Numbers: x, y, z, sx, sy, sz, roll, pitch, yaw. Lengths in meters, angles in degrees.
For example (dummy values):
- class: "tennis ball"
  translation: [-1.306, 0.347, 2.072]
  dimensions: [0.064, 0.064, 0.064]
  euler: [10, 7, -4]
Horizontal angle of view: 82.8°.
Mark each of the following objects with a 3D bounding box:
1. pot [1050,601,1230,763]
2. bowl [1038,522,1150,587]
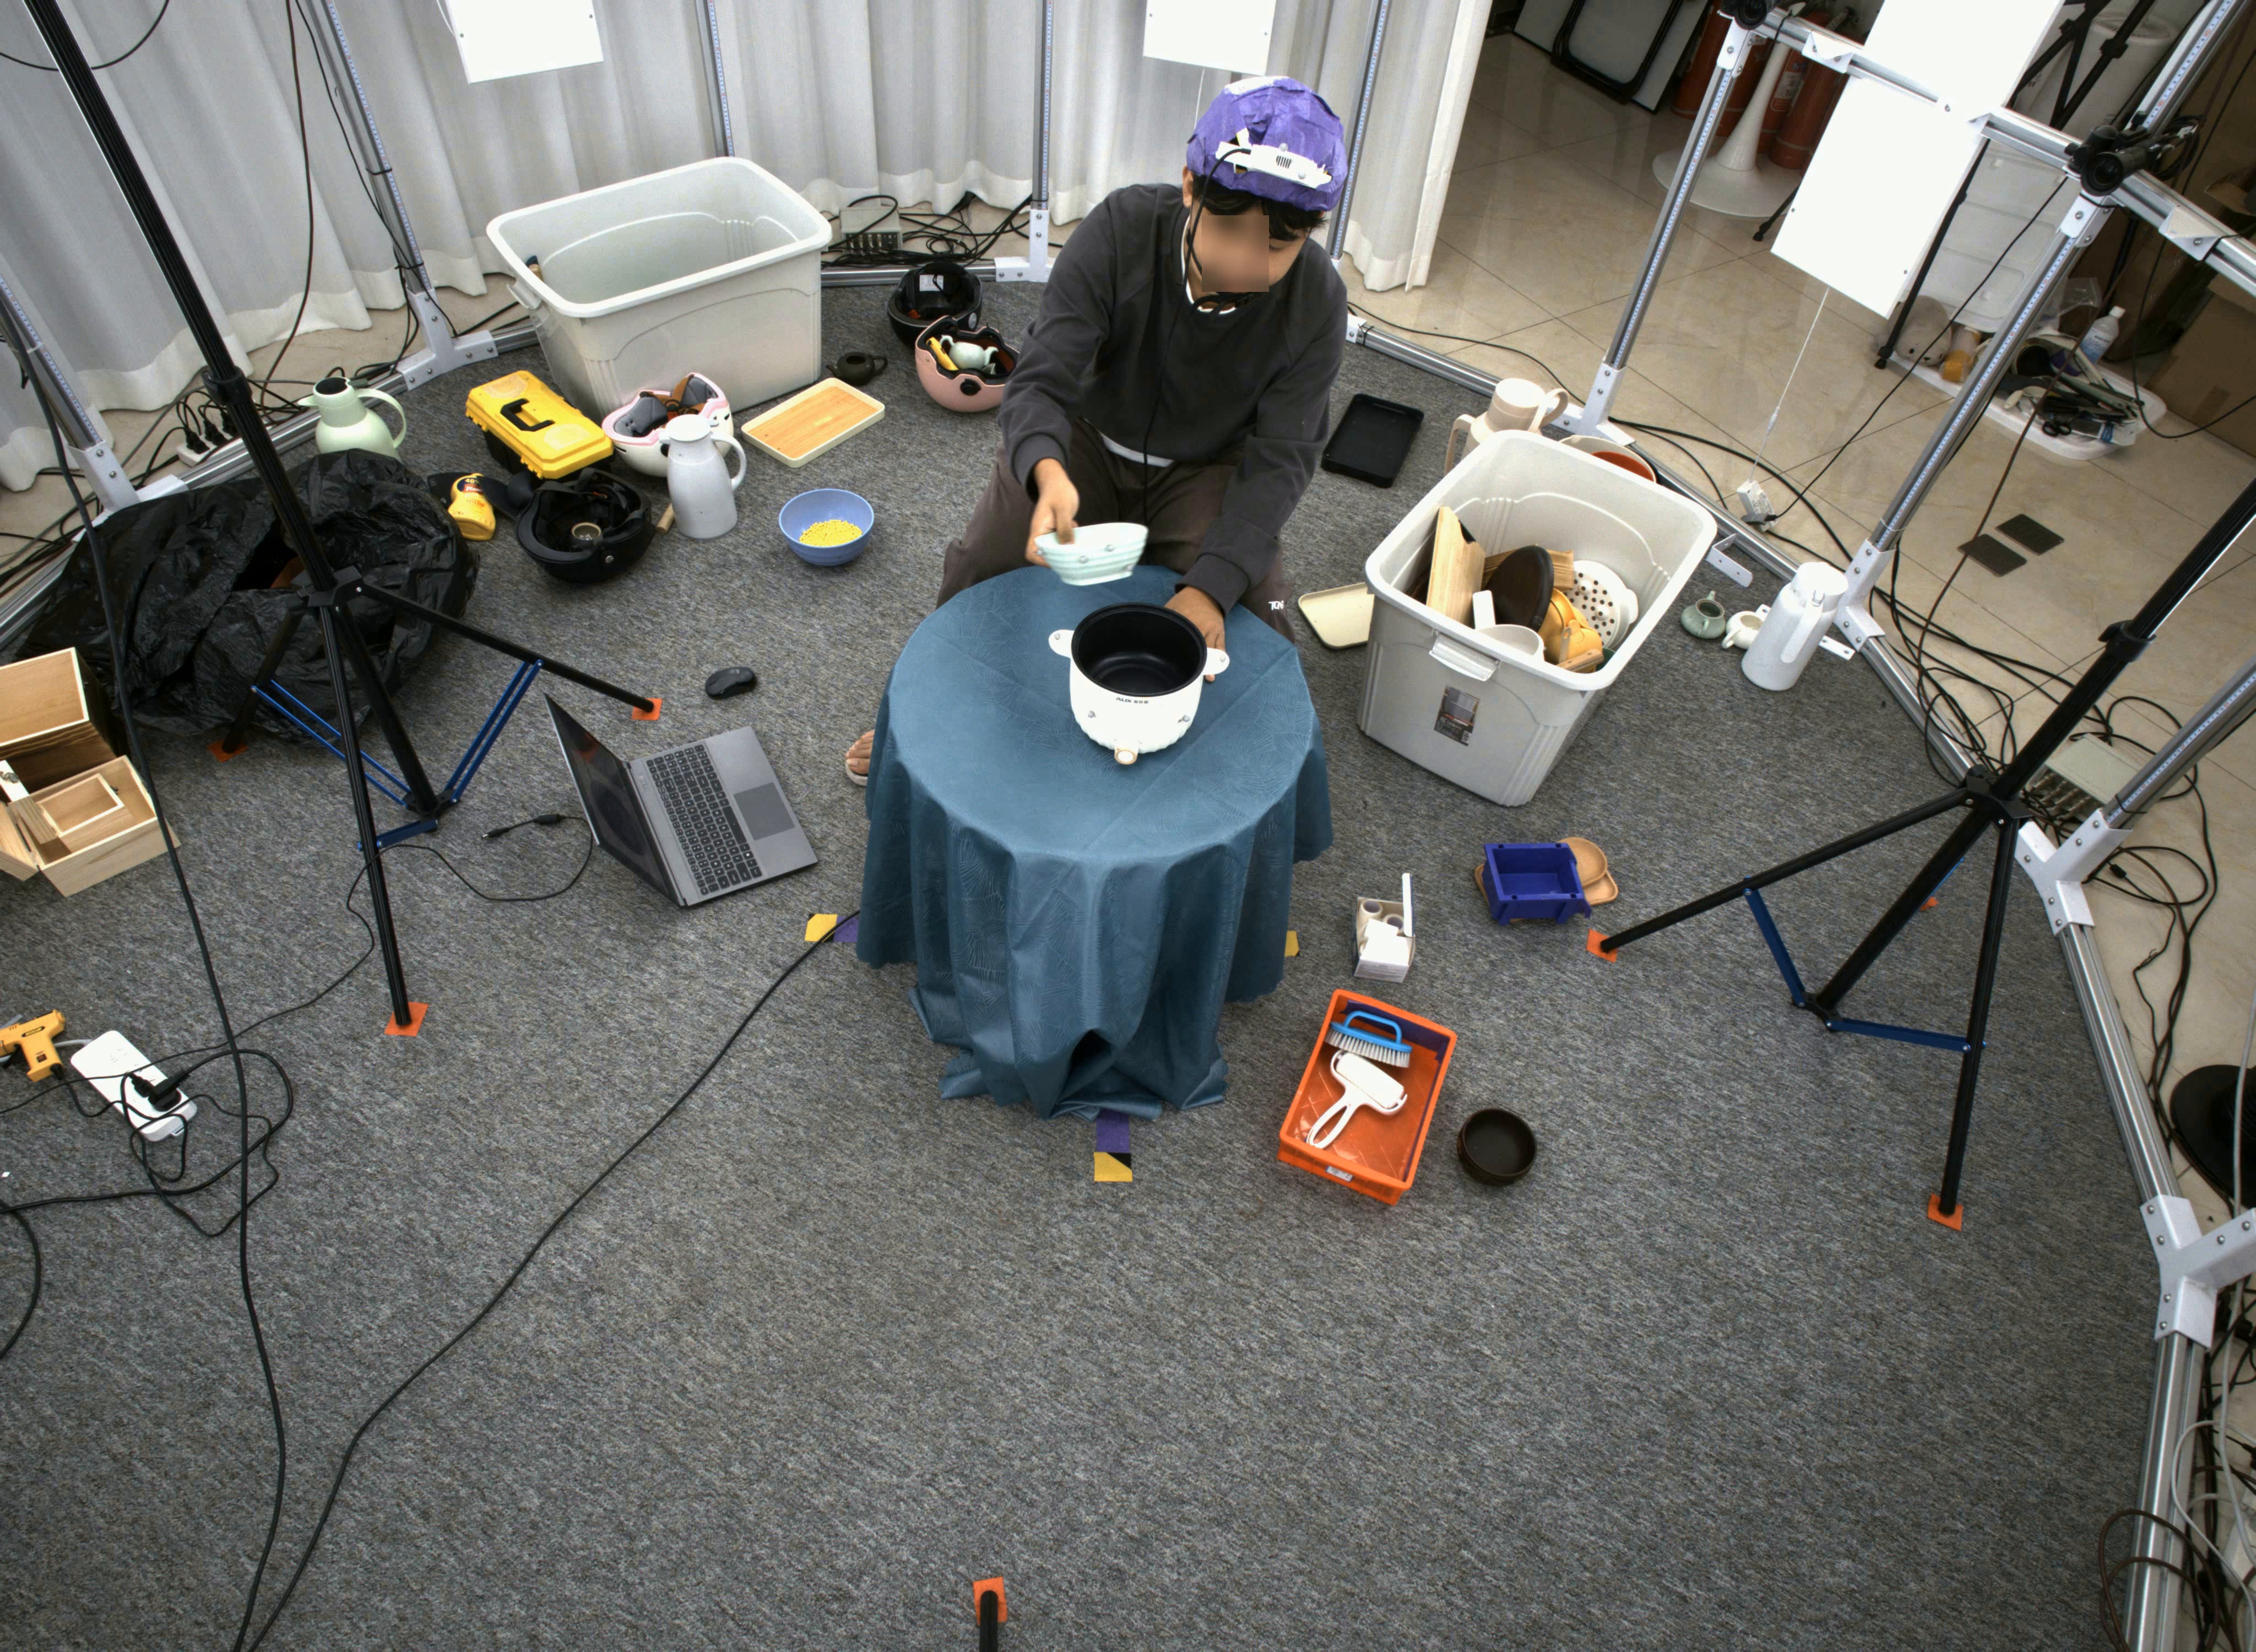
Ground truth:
- class: "pot"
  translation: [0.013, -0.192, 1.742]
  dimensions: [0.240, 0.139, 0.195]
  euler: [5, 46, 2]
- class: "bowl"
  translation: [-0.041, -0.350, 1.669]
  dimensions: [0.151, 0.058, 0.154]
  euler: [-6, 22, 2]
